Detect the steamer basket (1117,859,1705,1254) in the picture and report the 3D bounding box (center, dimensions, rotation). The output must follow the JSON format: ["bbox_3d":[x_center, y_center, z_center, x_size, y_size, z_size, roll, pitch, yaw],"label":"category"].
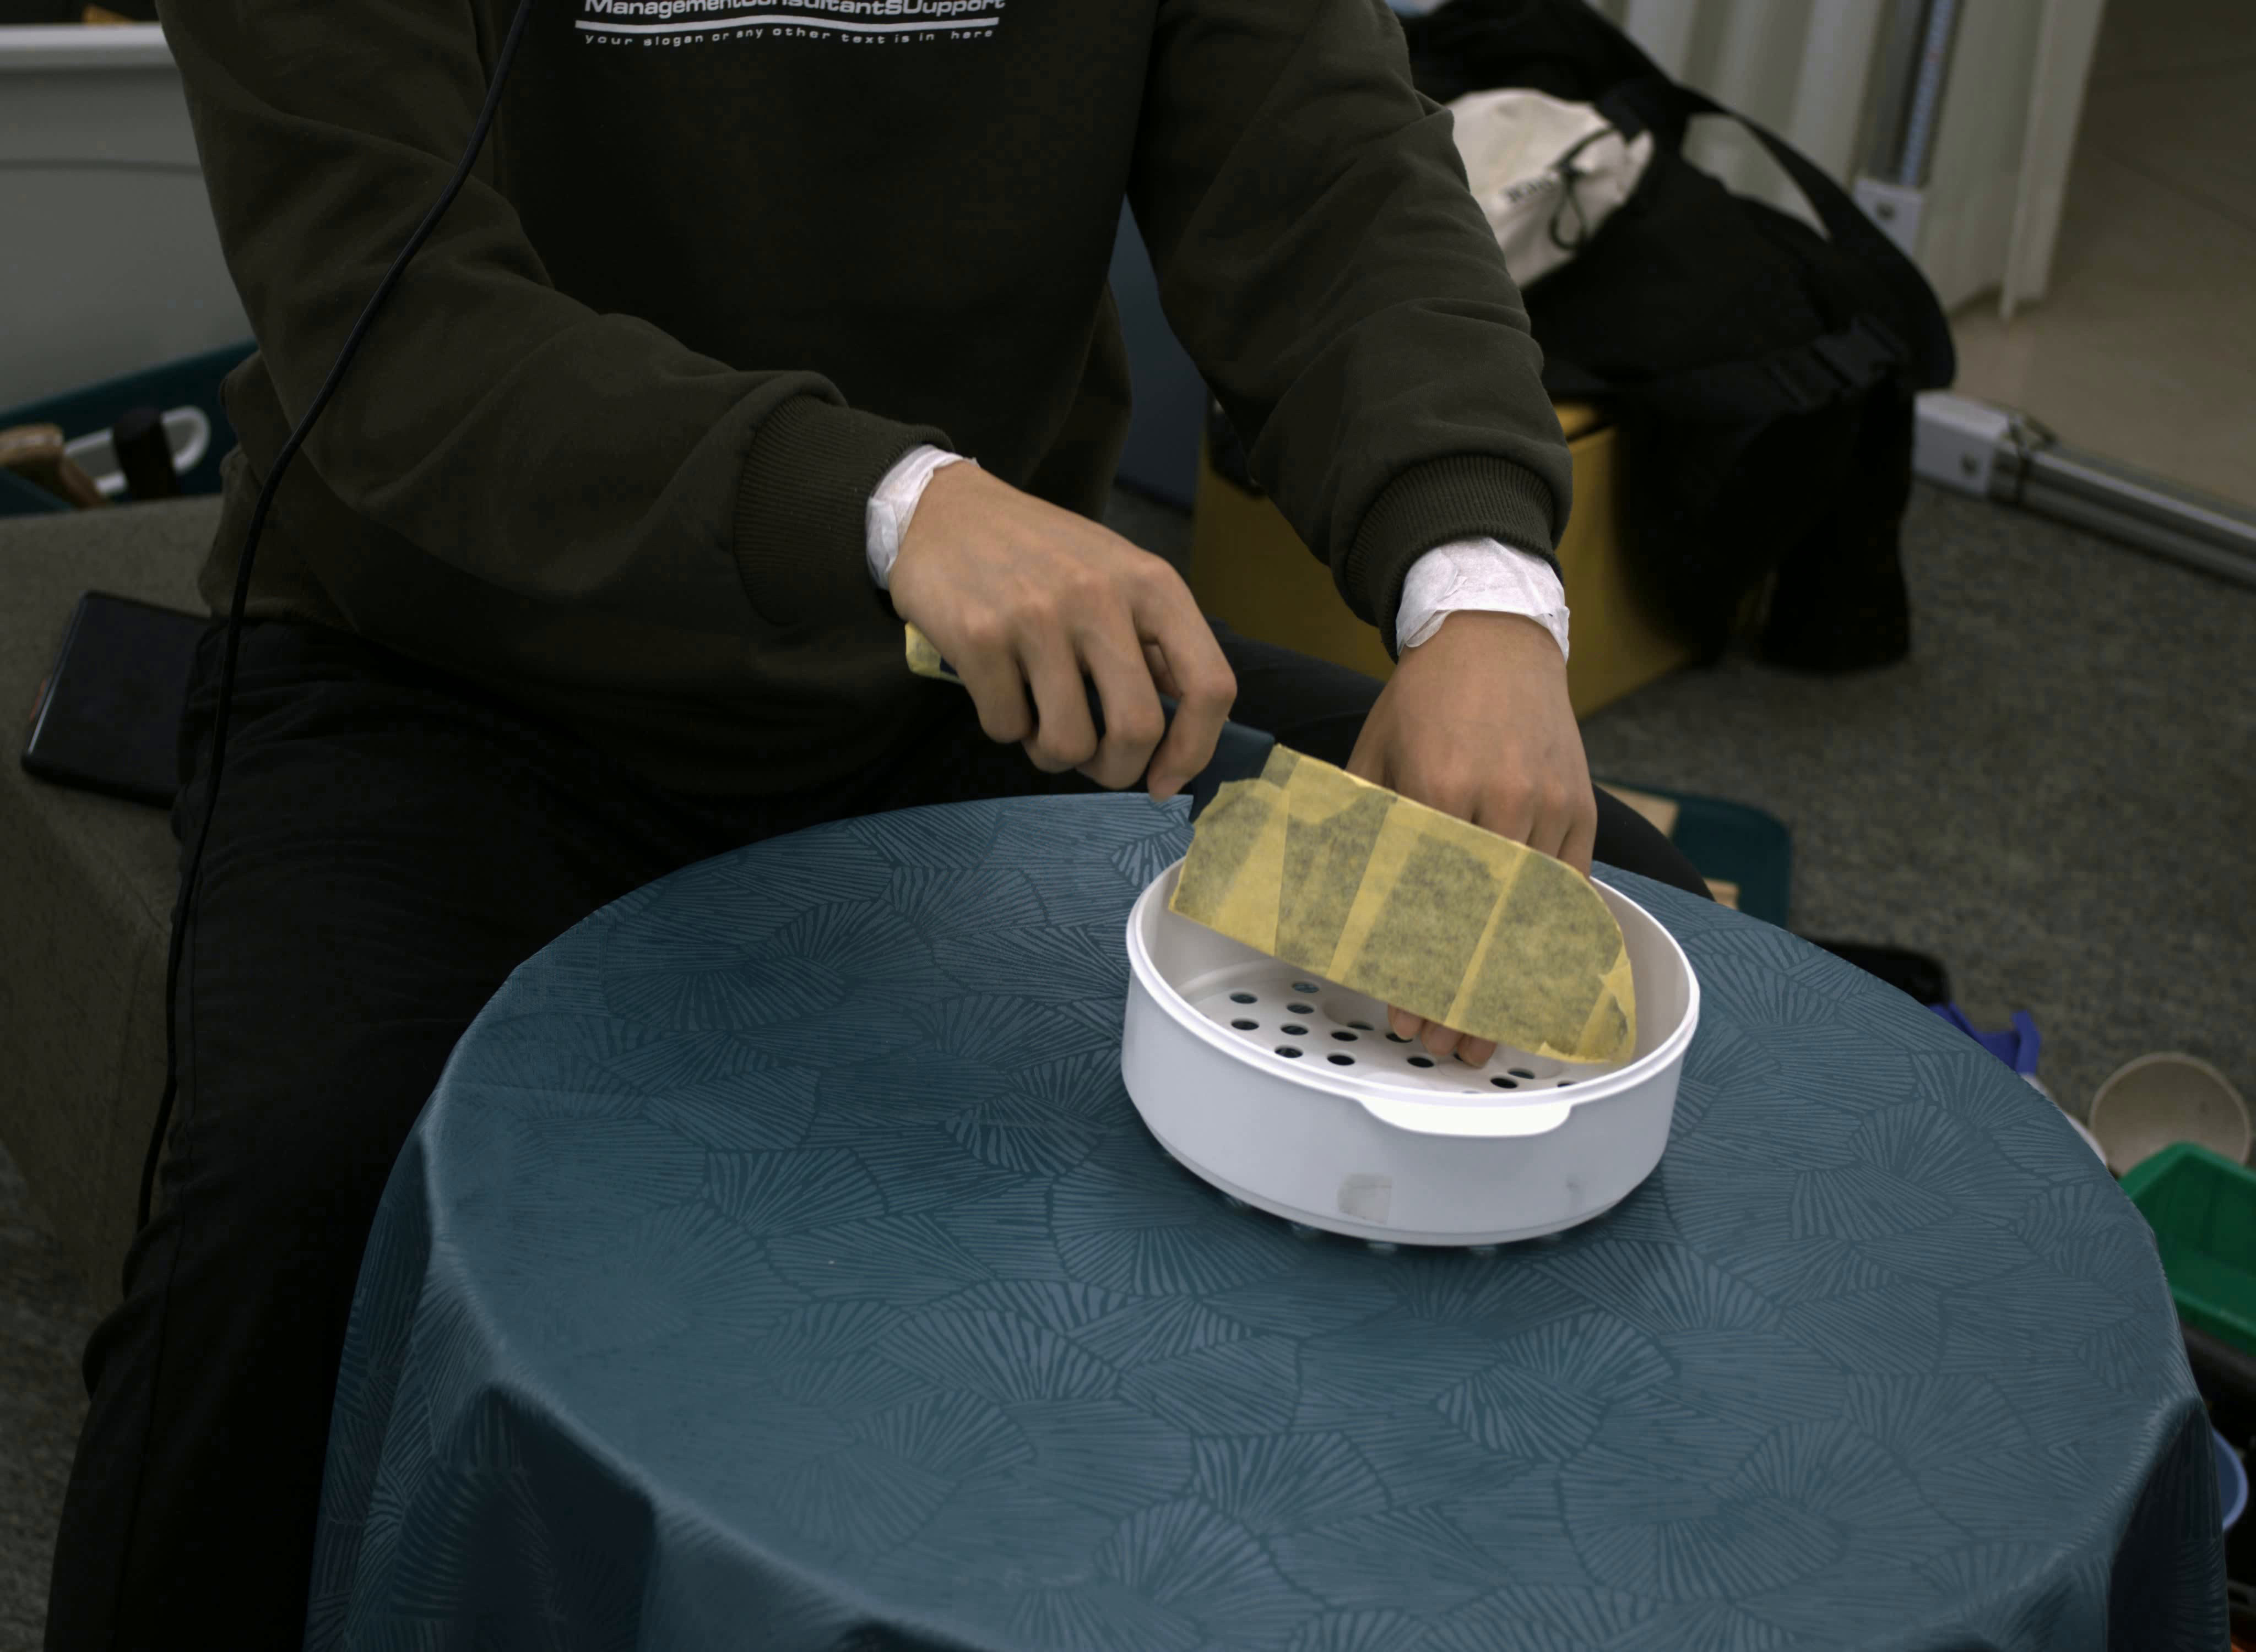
[{"bbox_3d":[0.096,0.076,1.849,0.201,0.069,0.232,3,25,-9],"label":"steamer basket"}]

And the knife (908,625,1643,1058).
[{"bbox_3d":[0.049,0.006,1.862,0.289,0.081,0.027,26,15,6],"label":"knife"}]
